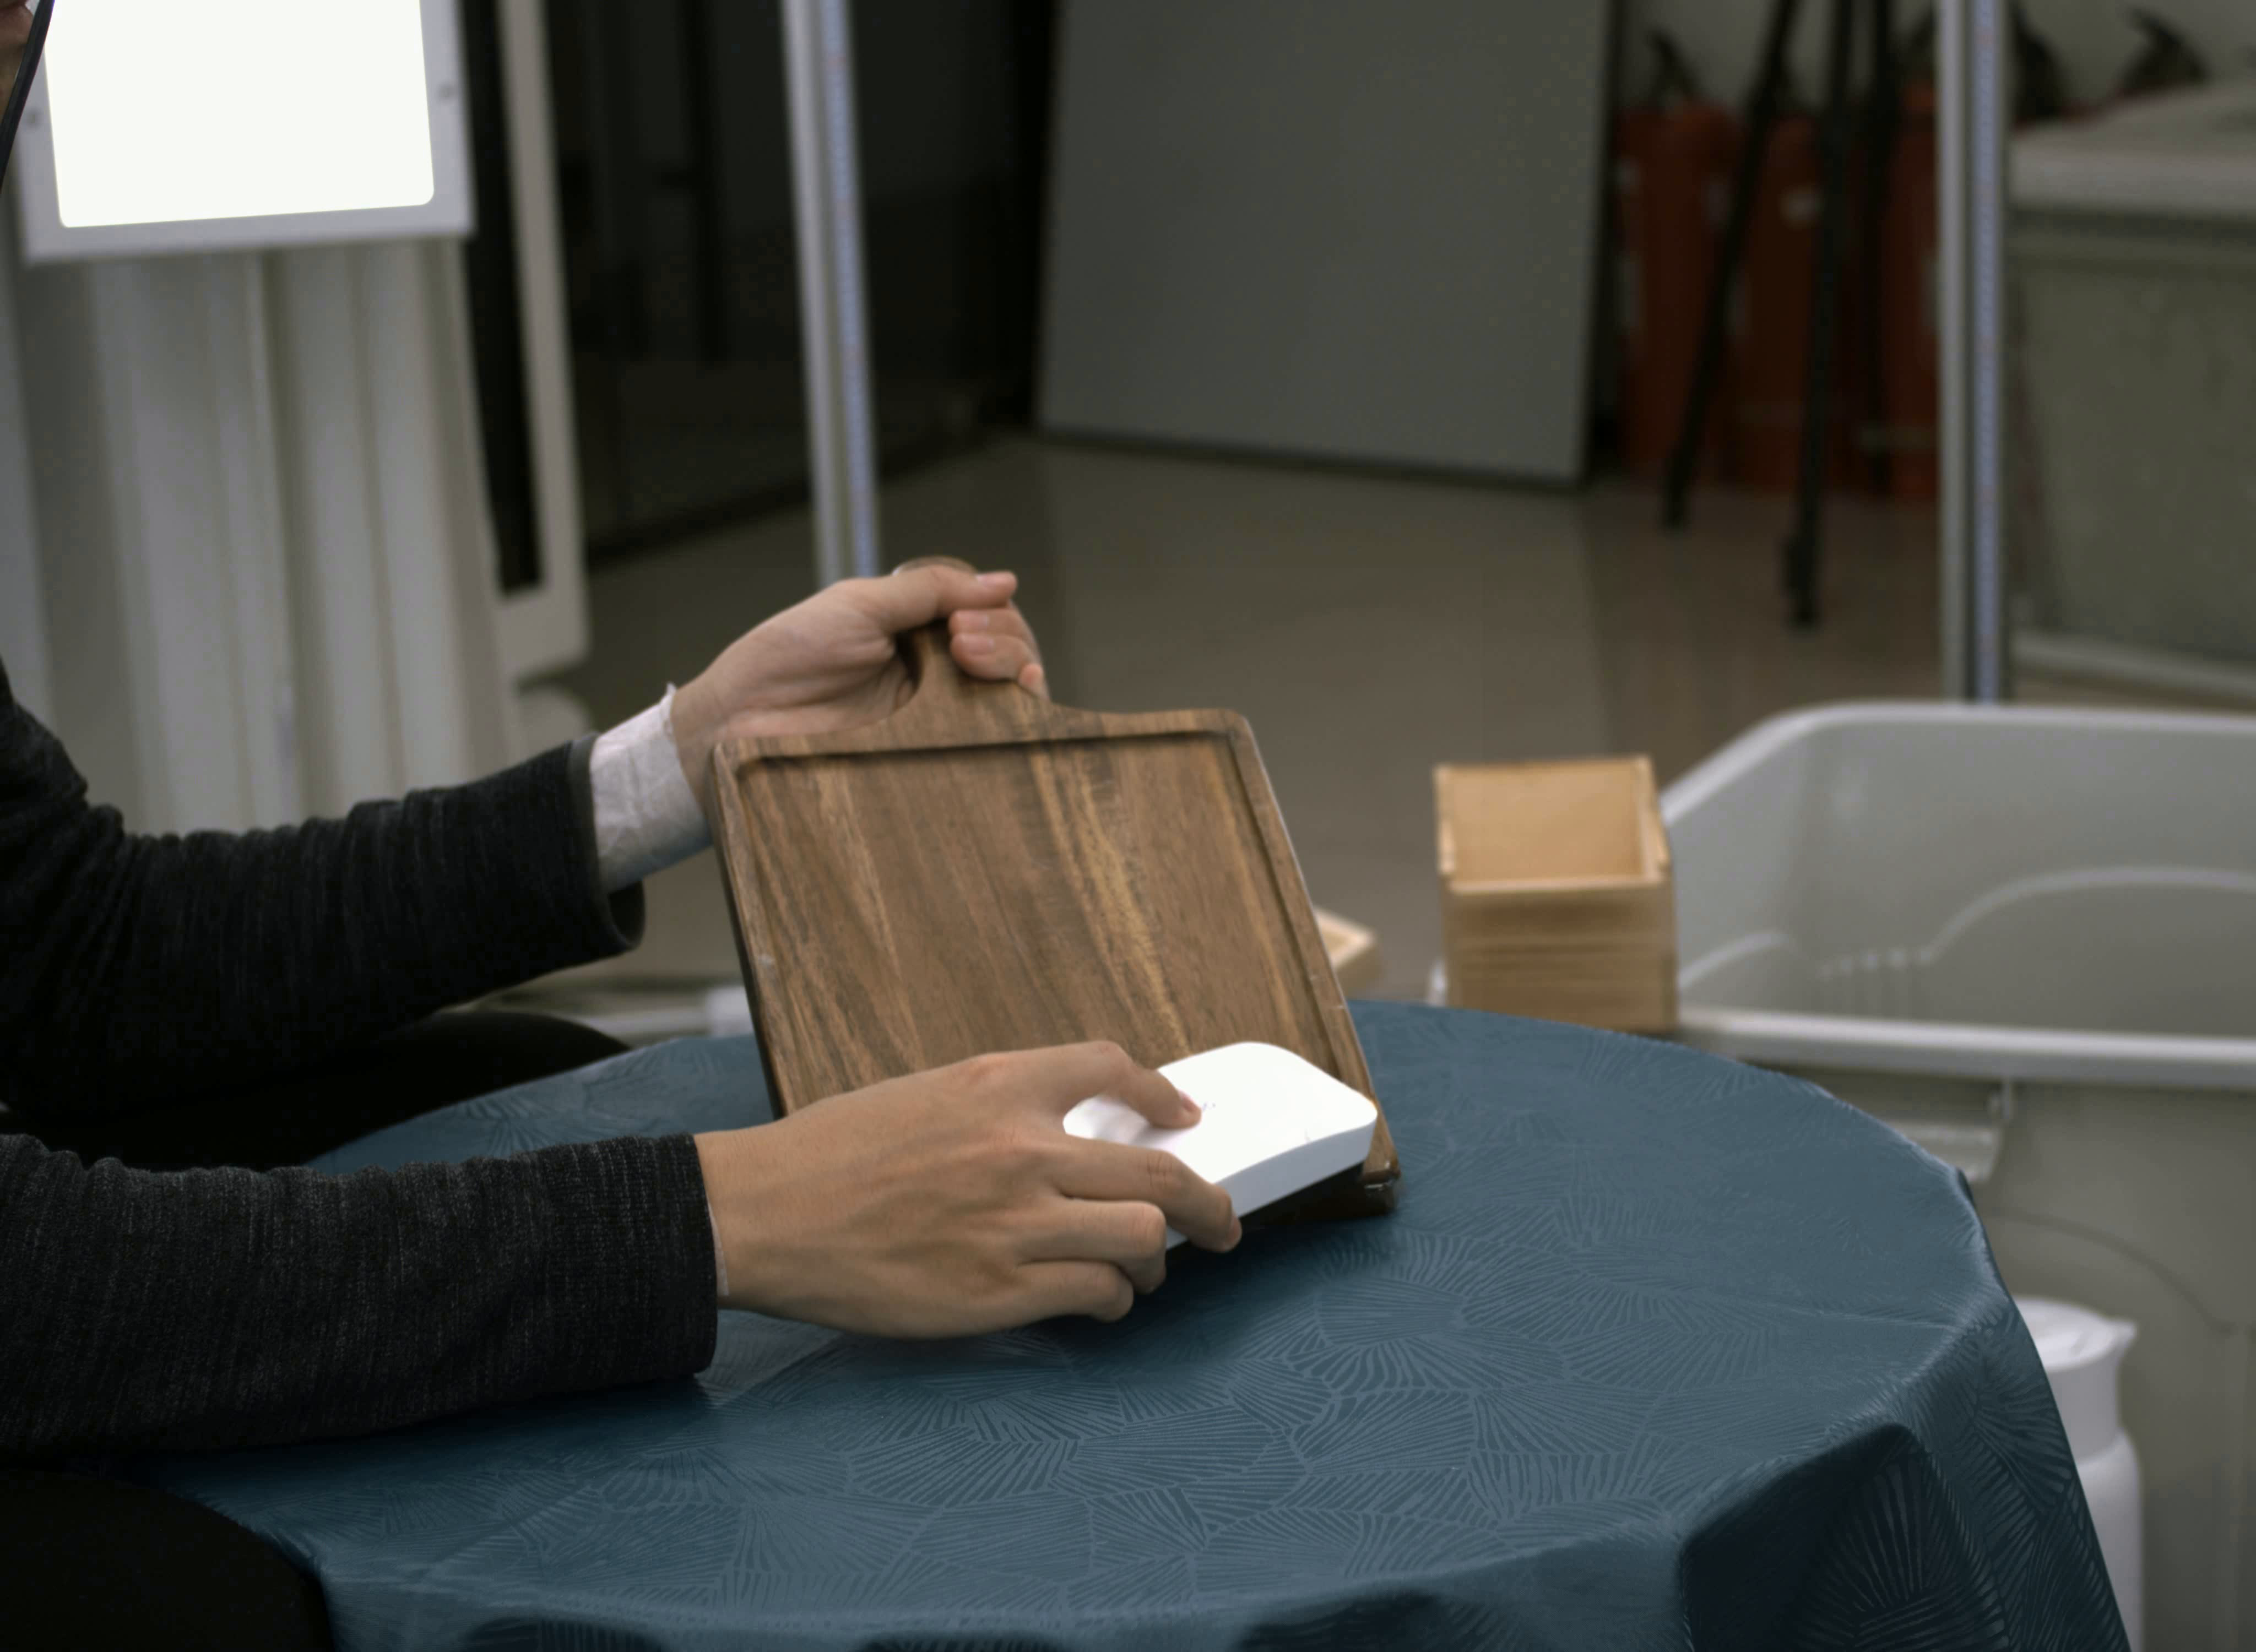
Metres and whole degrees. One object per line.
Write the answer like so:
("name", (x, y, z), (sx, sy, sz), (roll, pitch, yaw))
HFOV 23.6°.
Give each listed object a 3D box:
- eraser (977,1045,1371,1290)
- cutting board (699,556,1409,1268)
("eraser", (0.014, 0.103, 1.692), (0.128, 0.035, 0.064), (-19, 36, -36))
("cutting board", (-0.039, 0.017, 1.842), (0.197, 0.023, 0.356), (-5, 39, -11))
